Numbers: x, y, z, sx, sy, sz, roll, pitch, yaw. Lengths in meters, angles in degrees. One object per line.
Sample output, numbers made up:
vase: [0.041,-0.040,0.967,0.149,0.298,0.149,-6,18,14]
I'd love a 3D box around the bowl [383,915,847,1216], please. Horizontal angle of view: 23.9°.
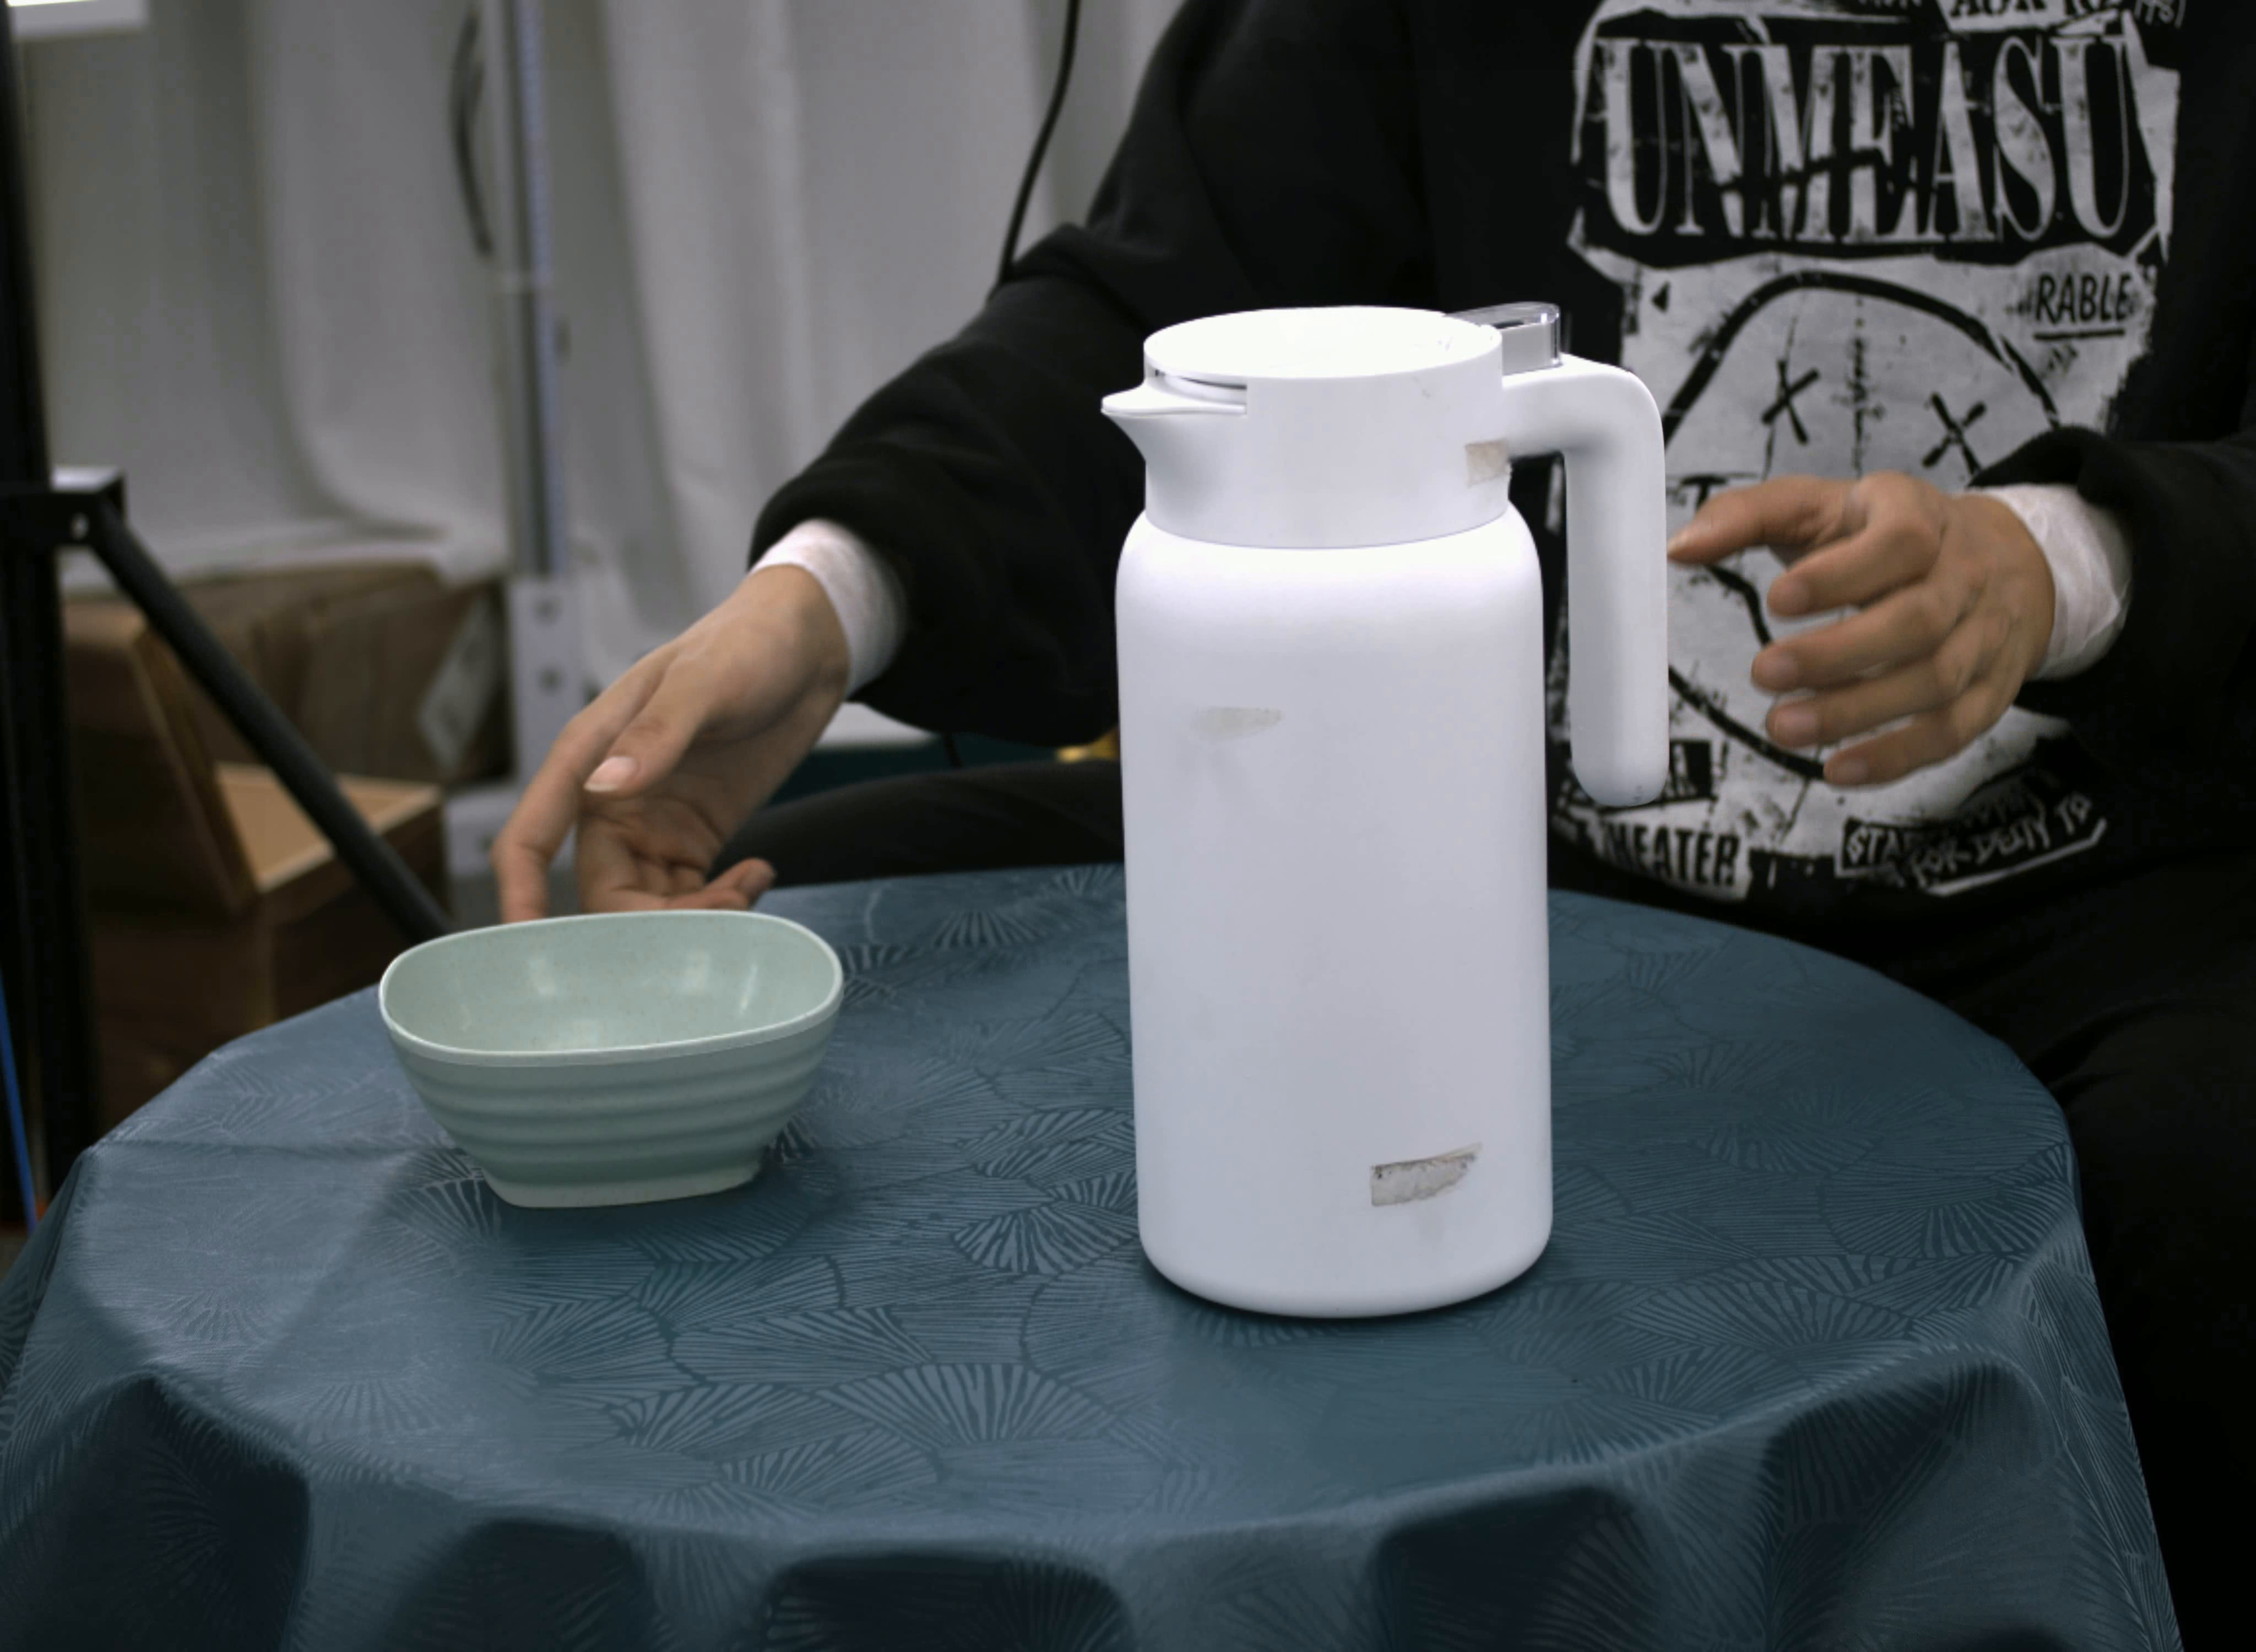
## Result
bowl: [-0.152,0.075,1.601,0.150,0.058,0.152,-2,16,-1]

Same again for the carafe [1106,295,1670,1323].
carafe: [0.072,-0.009,1.468,0.169,0.269,0.126,-11,15,-29]
